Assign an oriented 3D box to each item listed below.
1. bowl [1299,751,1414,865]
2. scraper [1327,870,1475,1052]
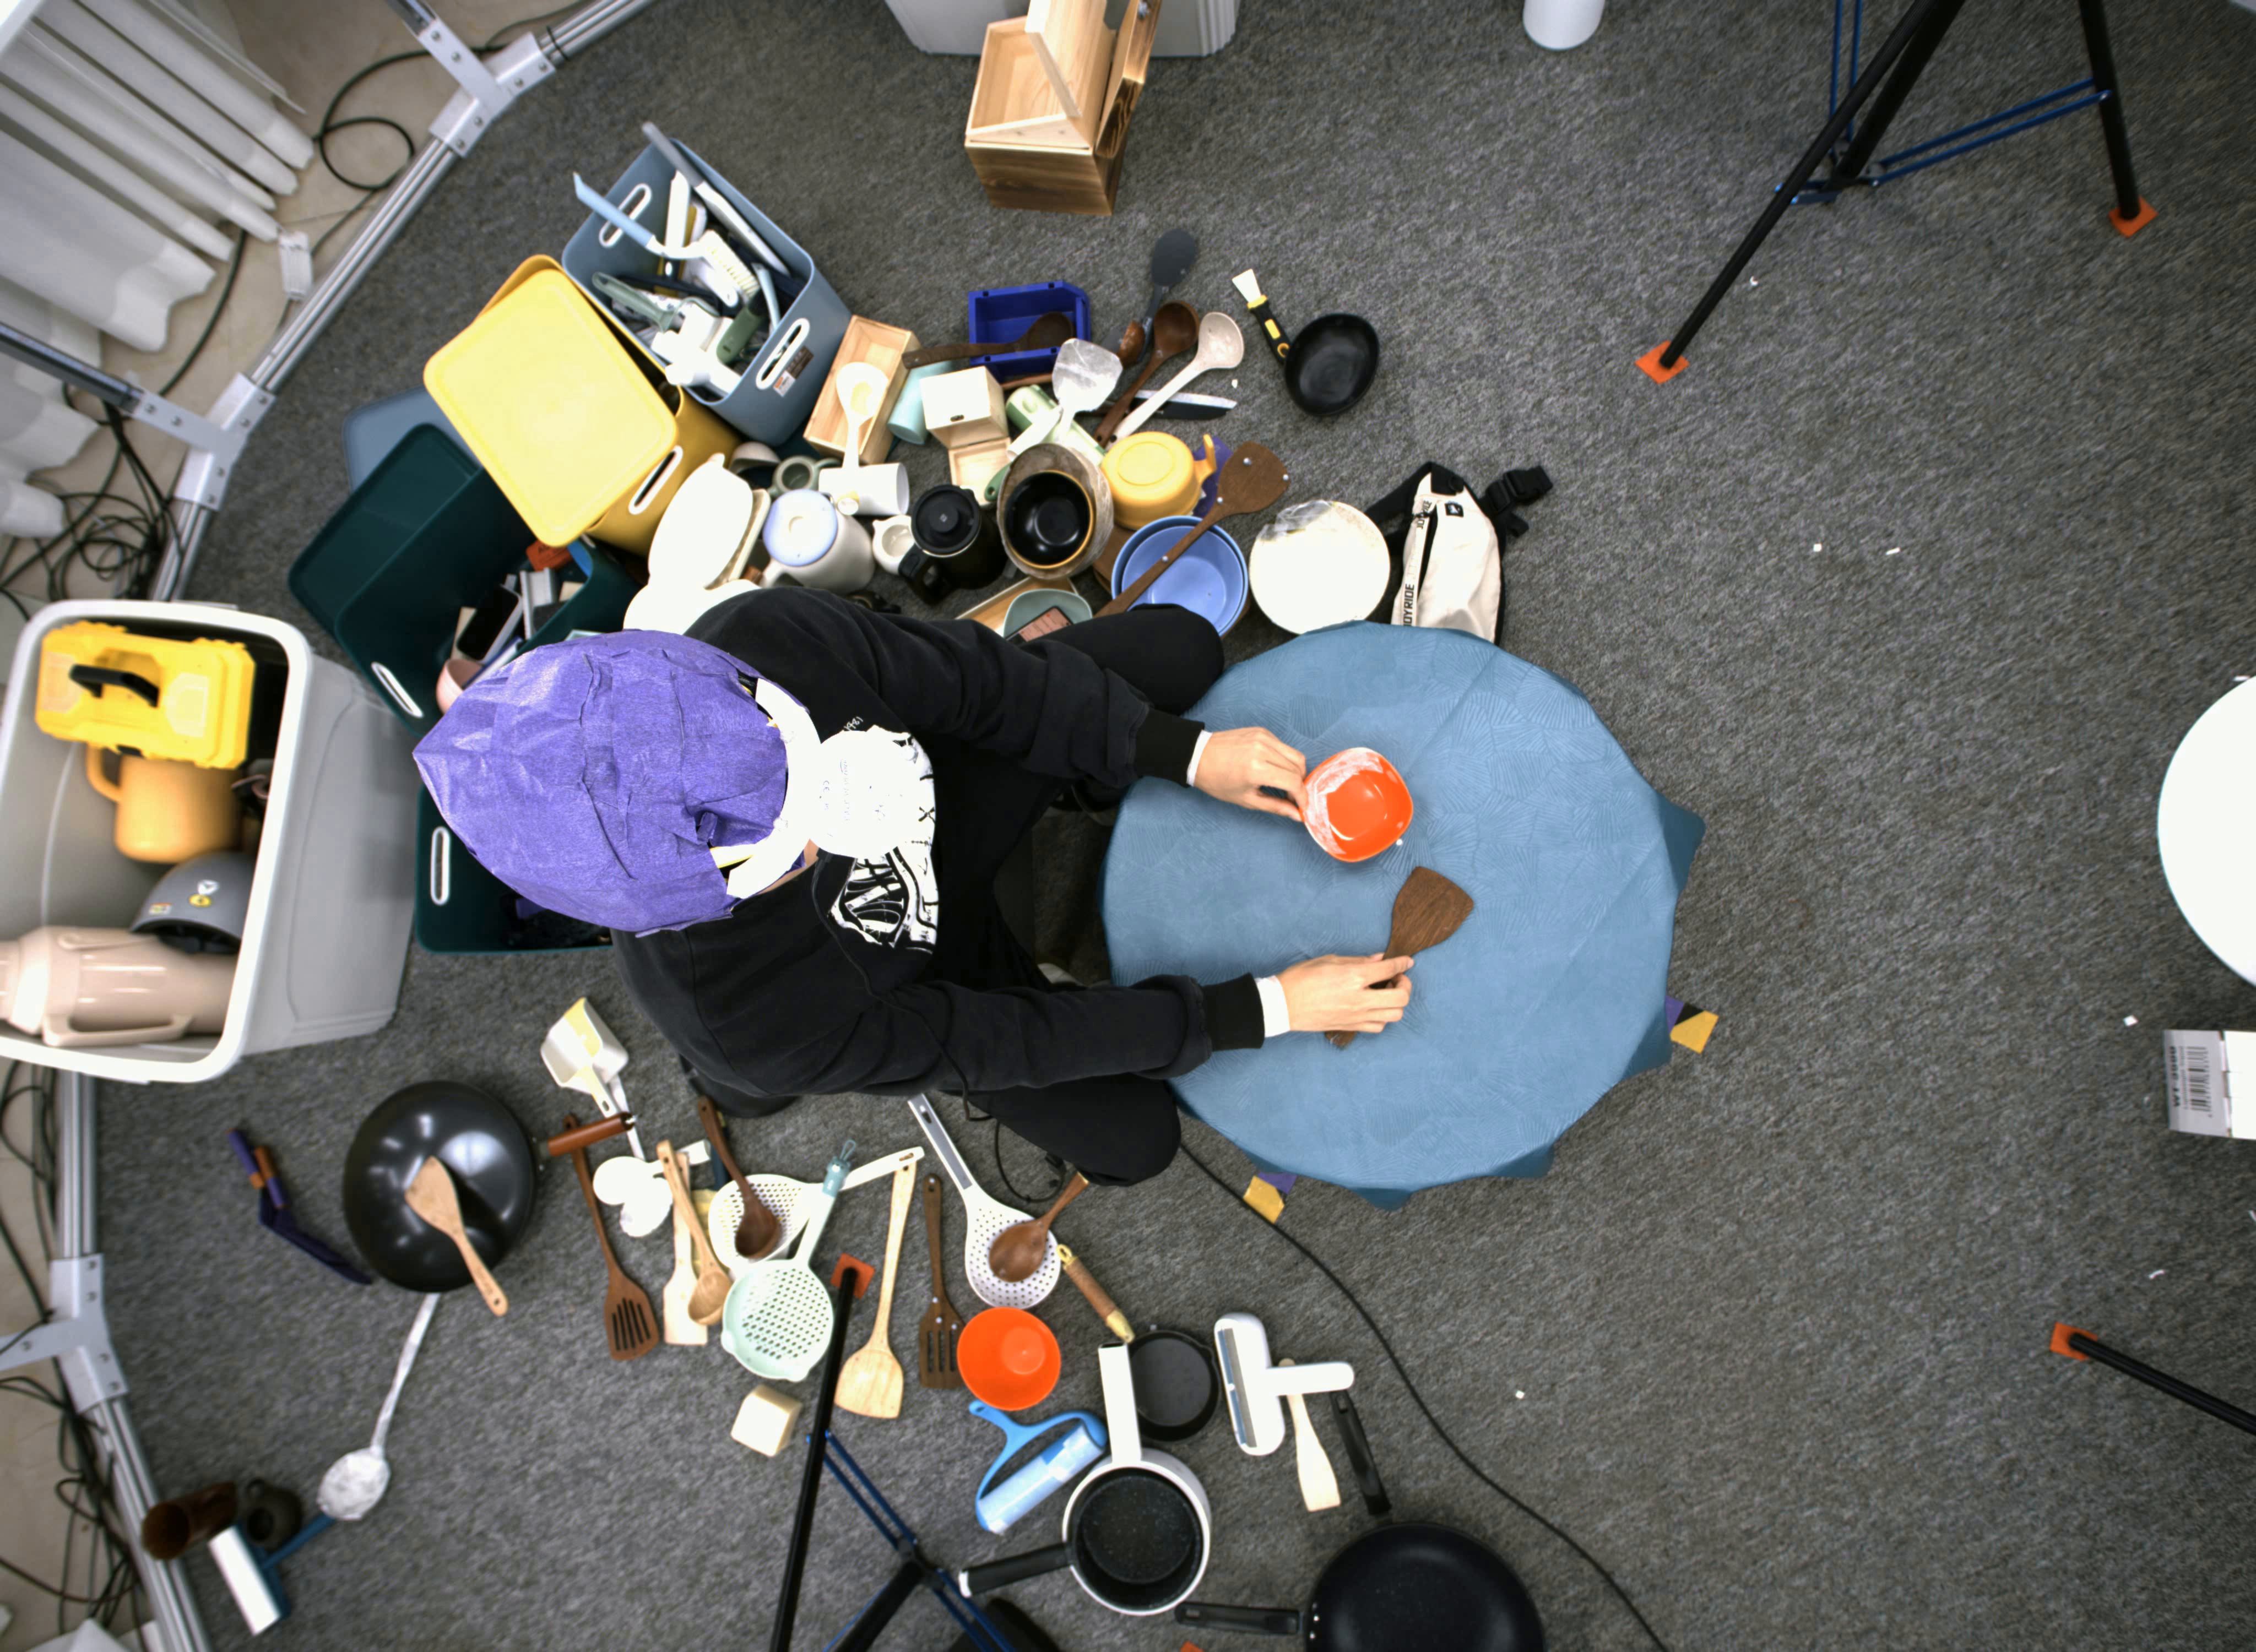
[{"bbox_3d":[0.239,-0.020,1.452,0.119,0.051,0.119,0,93,6],"label":"bowl"},{"bbox_3d":[0.278,0.145,1.451,0.075,0.011,0.211,36,90,11],"label":"scraper"}]
